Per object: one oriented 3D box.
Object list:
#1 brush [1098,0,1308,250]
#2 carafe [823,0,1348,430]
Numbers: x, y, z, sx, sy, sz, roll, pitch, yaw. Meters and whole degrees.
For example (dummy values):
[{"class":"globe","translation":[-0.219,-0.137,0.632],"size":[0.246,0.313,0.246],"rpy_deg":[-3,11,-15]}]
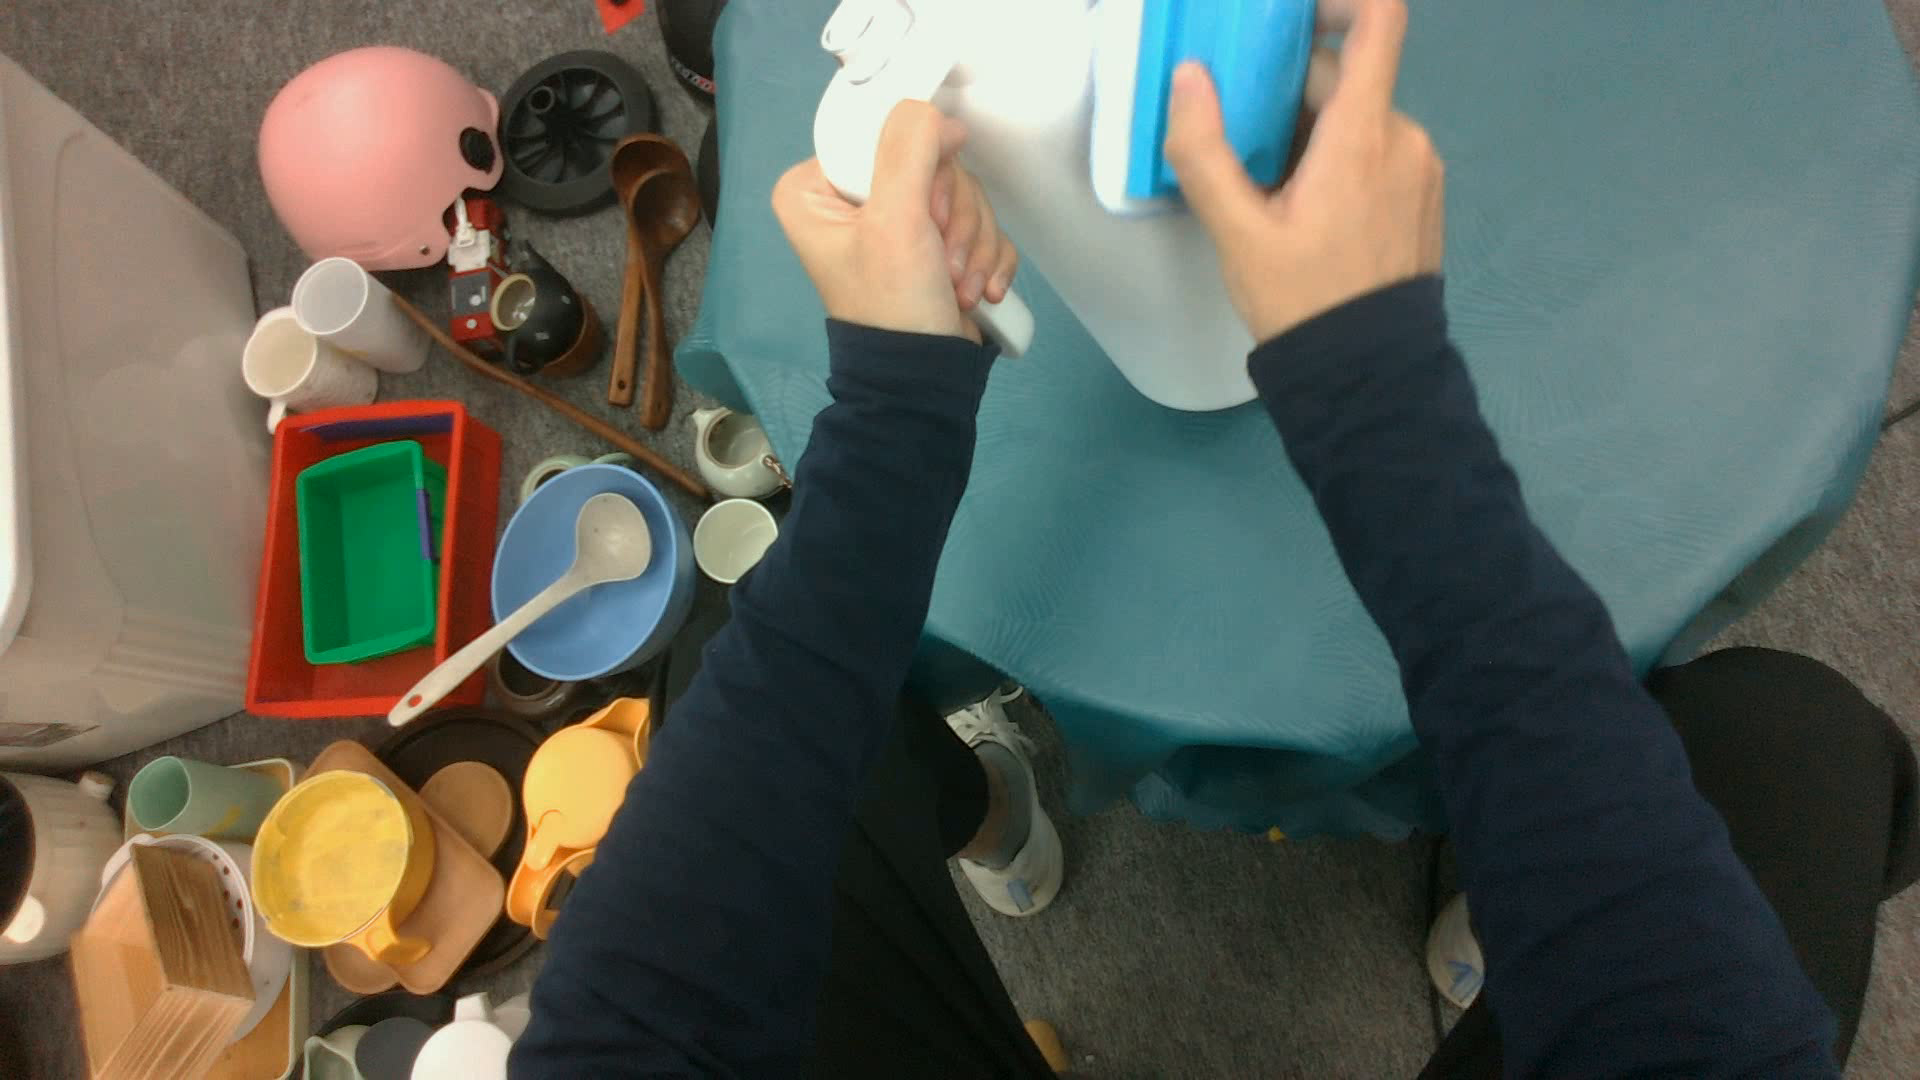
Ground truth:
[{"class":"brush","translation":[0.095,-0.177,0.494],"size":[0.056,0.084,0.143],"rpy_deg":[16,109,50]},{"class":"carafe","translation":[0.058,-0.148,0.587],"size":[0.123,0.268,0.173],"rpy_deg":[19,75,42]}]
